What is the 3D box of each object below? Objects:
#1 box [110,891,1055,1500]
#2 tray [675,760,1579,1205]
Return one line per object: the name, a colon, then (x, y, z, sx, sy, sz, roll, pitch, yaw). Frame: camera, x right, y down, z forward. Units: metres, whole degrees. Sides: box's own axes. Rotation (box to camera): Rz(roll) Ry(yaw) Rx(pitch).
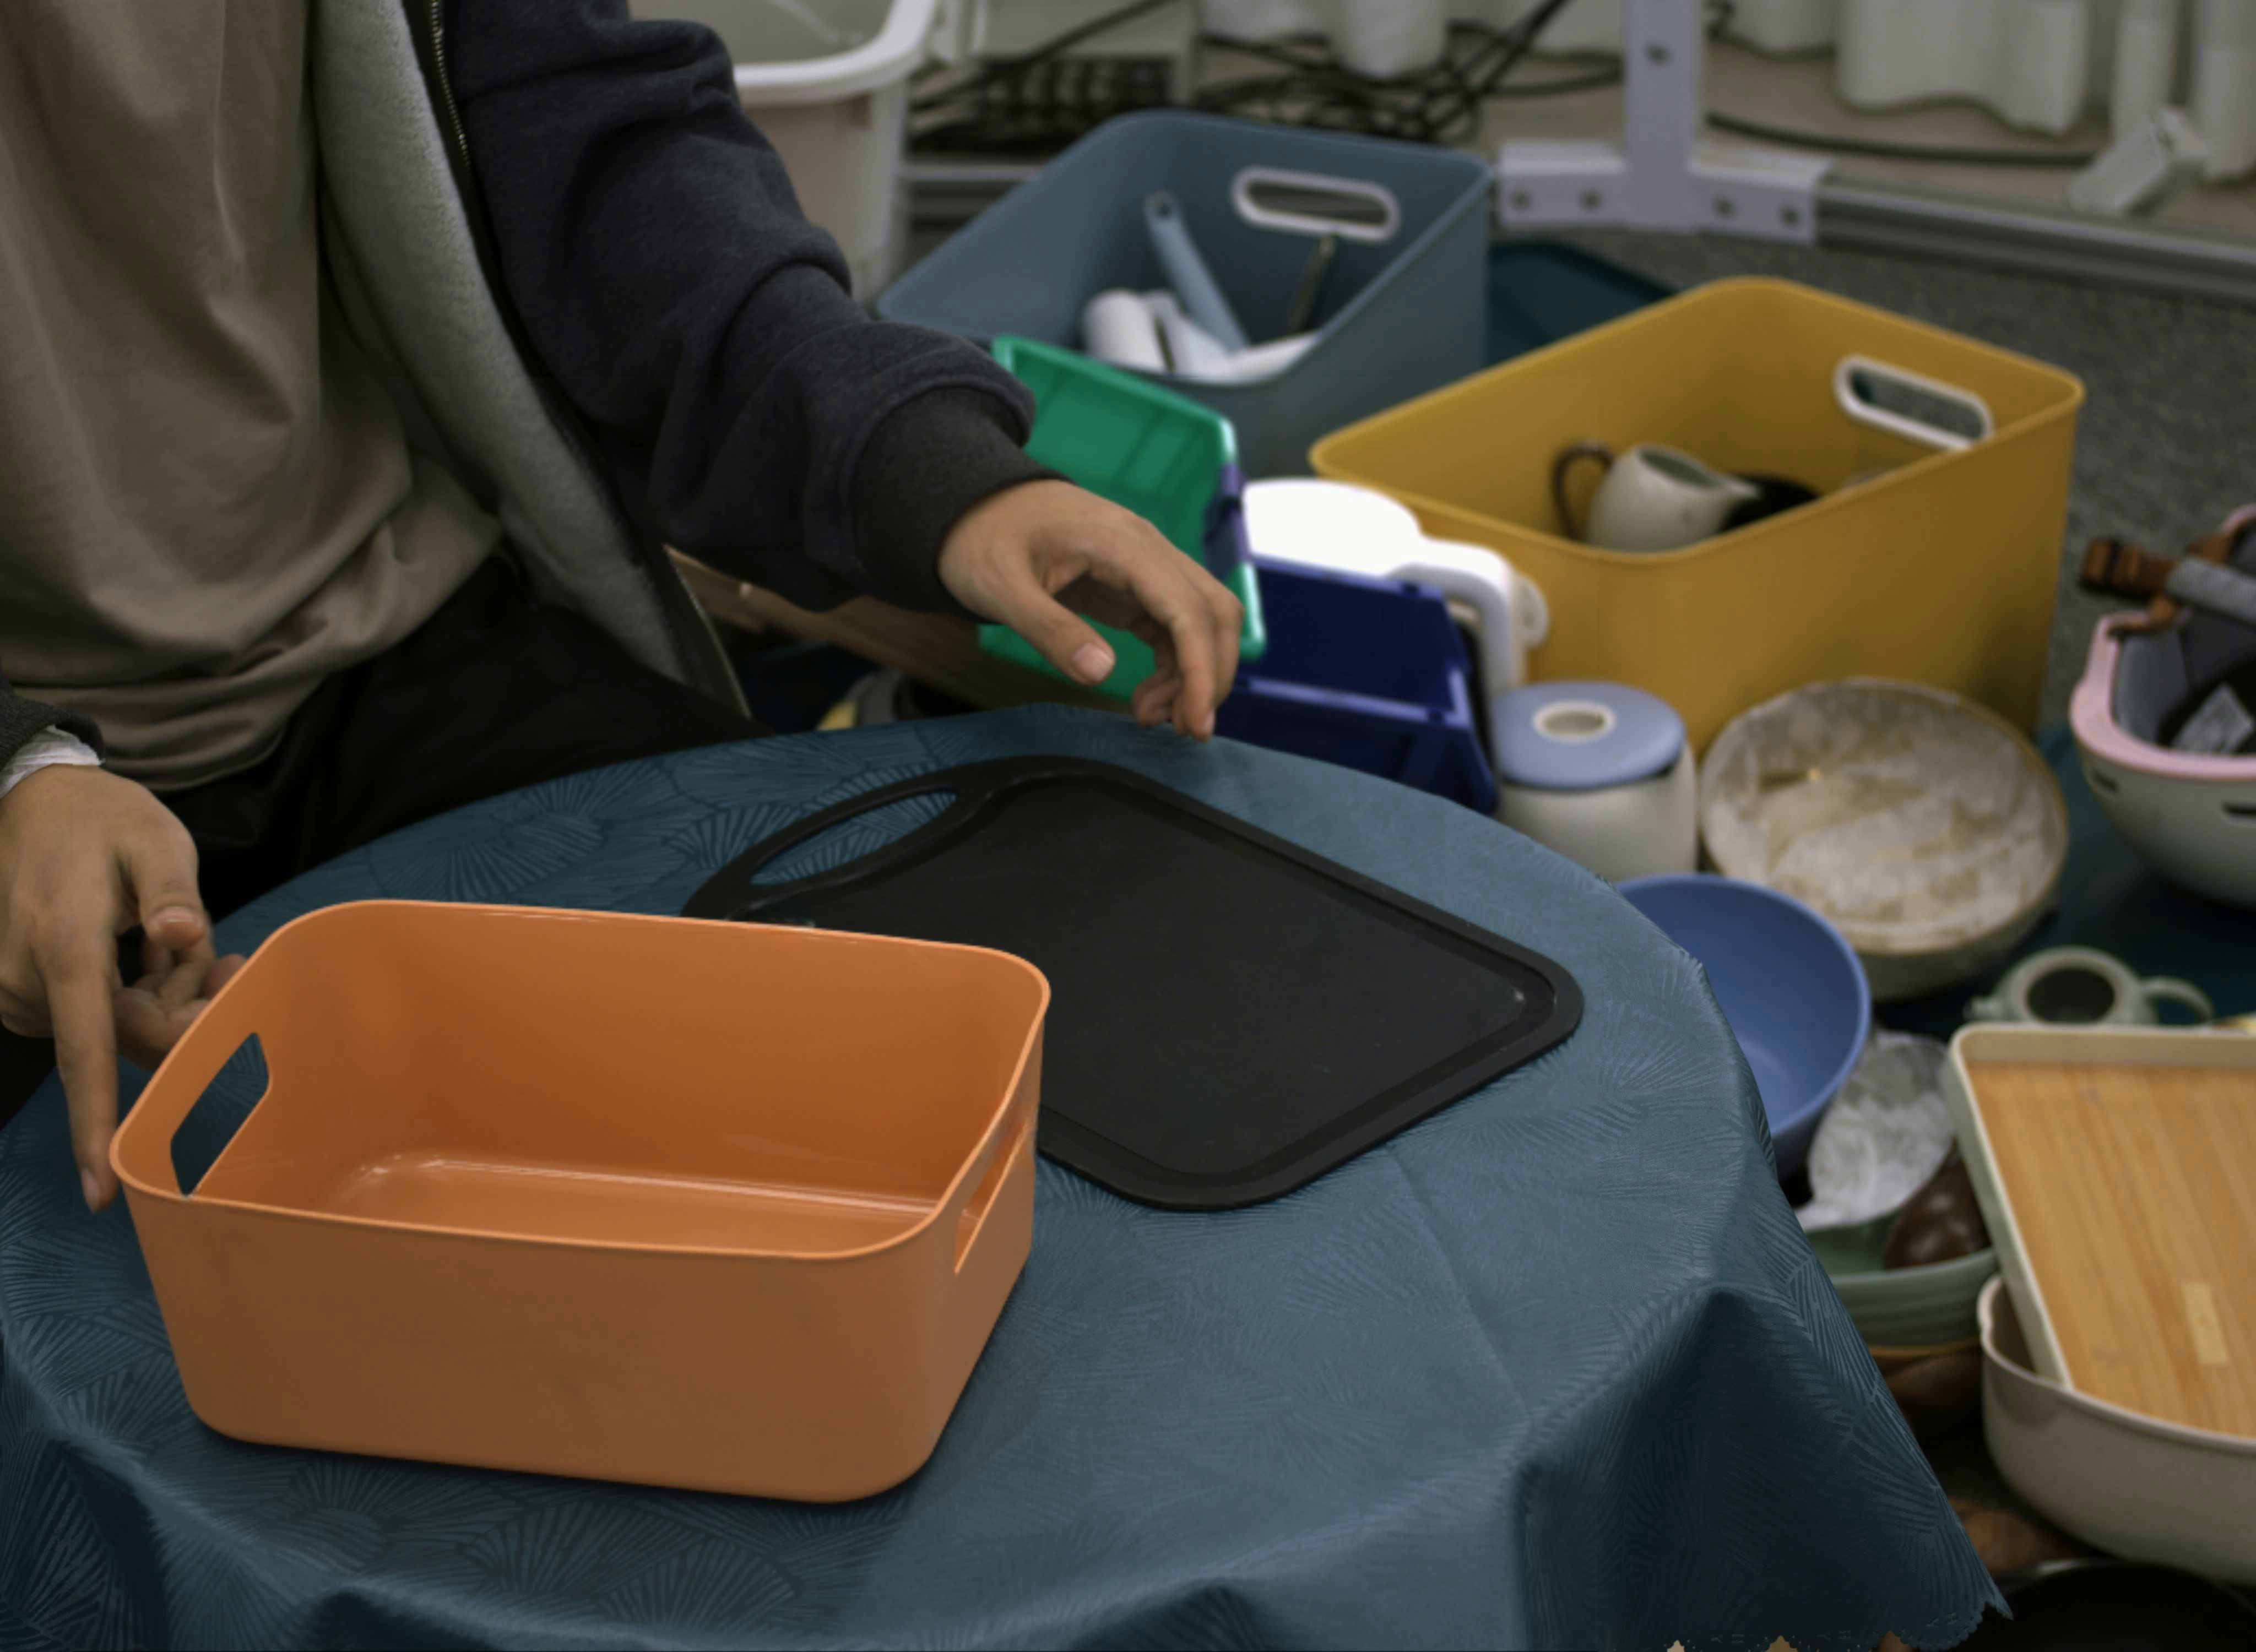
box: (-0.165, 0.117, 1.775, 0.271, 0.101, 0.203, 4, 28, 13)
tray: (-0.011, 0.047, 2.000, 0.213, 0.009, 0.325, -25, 35, -36)
